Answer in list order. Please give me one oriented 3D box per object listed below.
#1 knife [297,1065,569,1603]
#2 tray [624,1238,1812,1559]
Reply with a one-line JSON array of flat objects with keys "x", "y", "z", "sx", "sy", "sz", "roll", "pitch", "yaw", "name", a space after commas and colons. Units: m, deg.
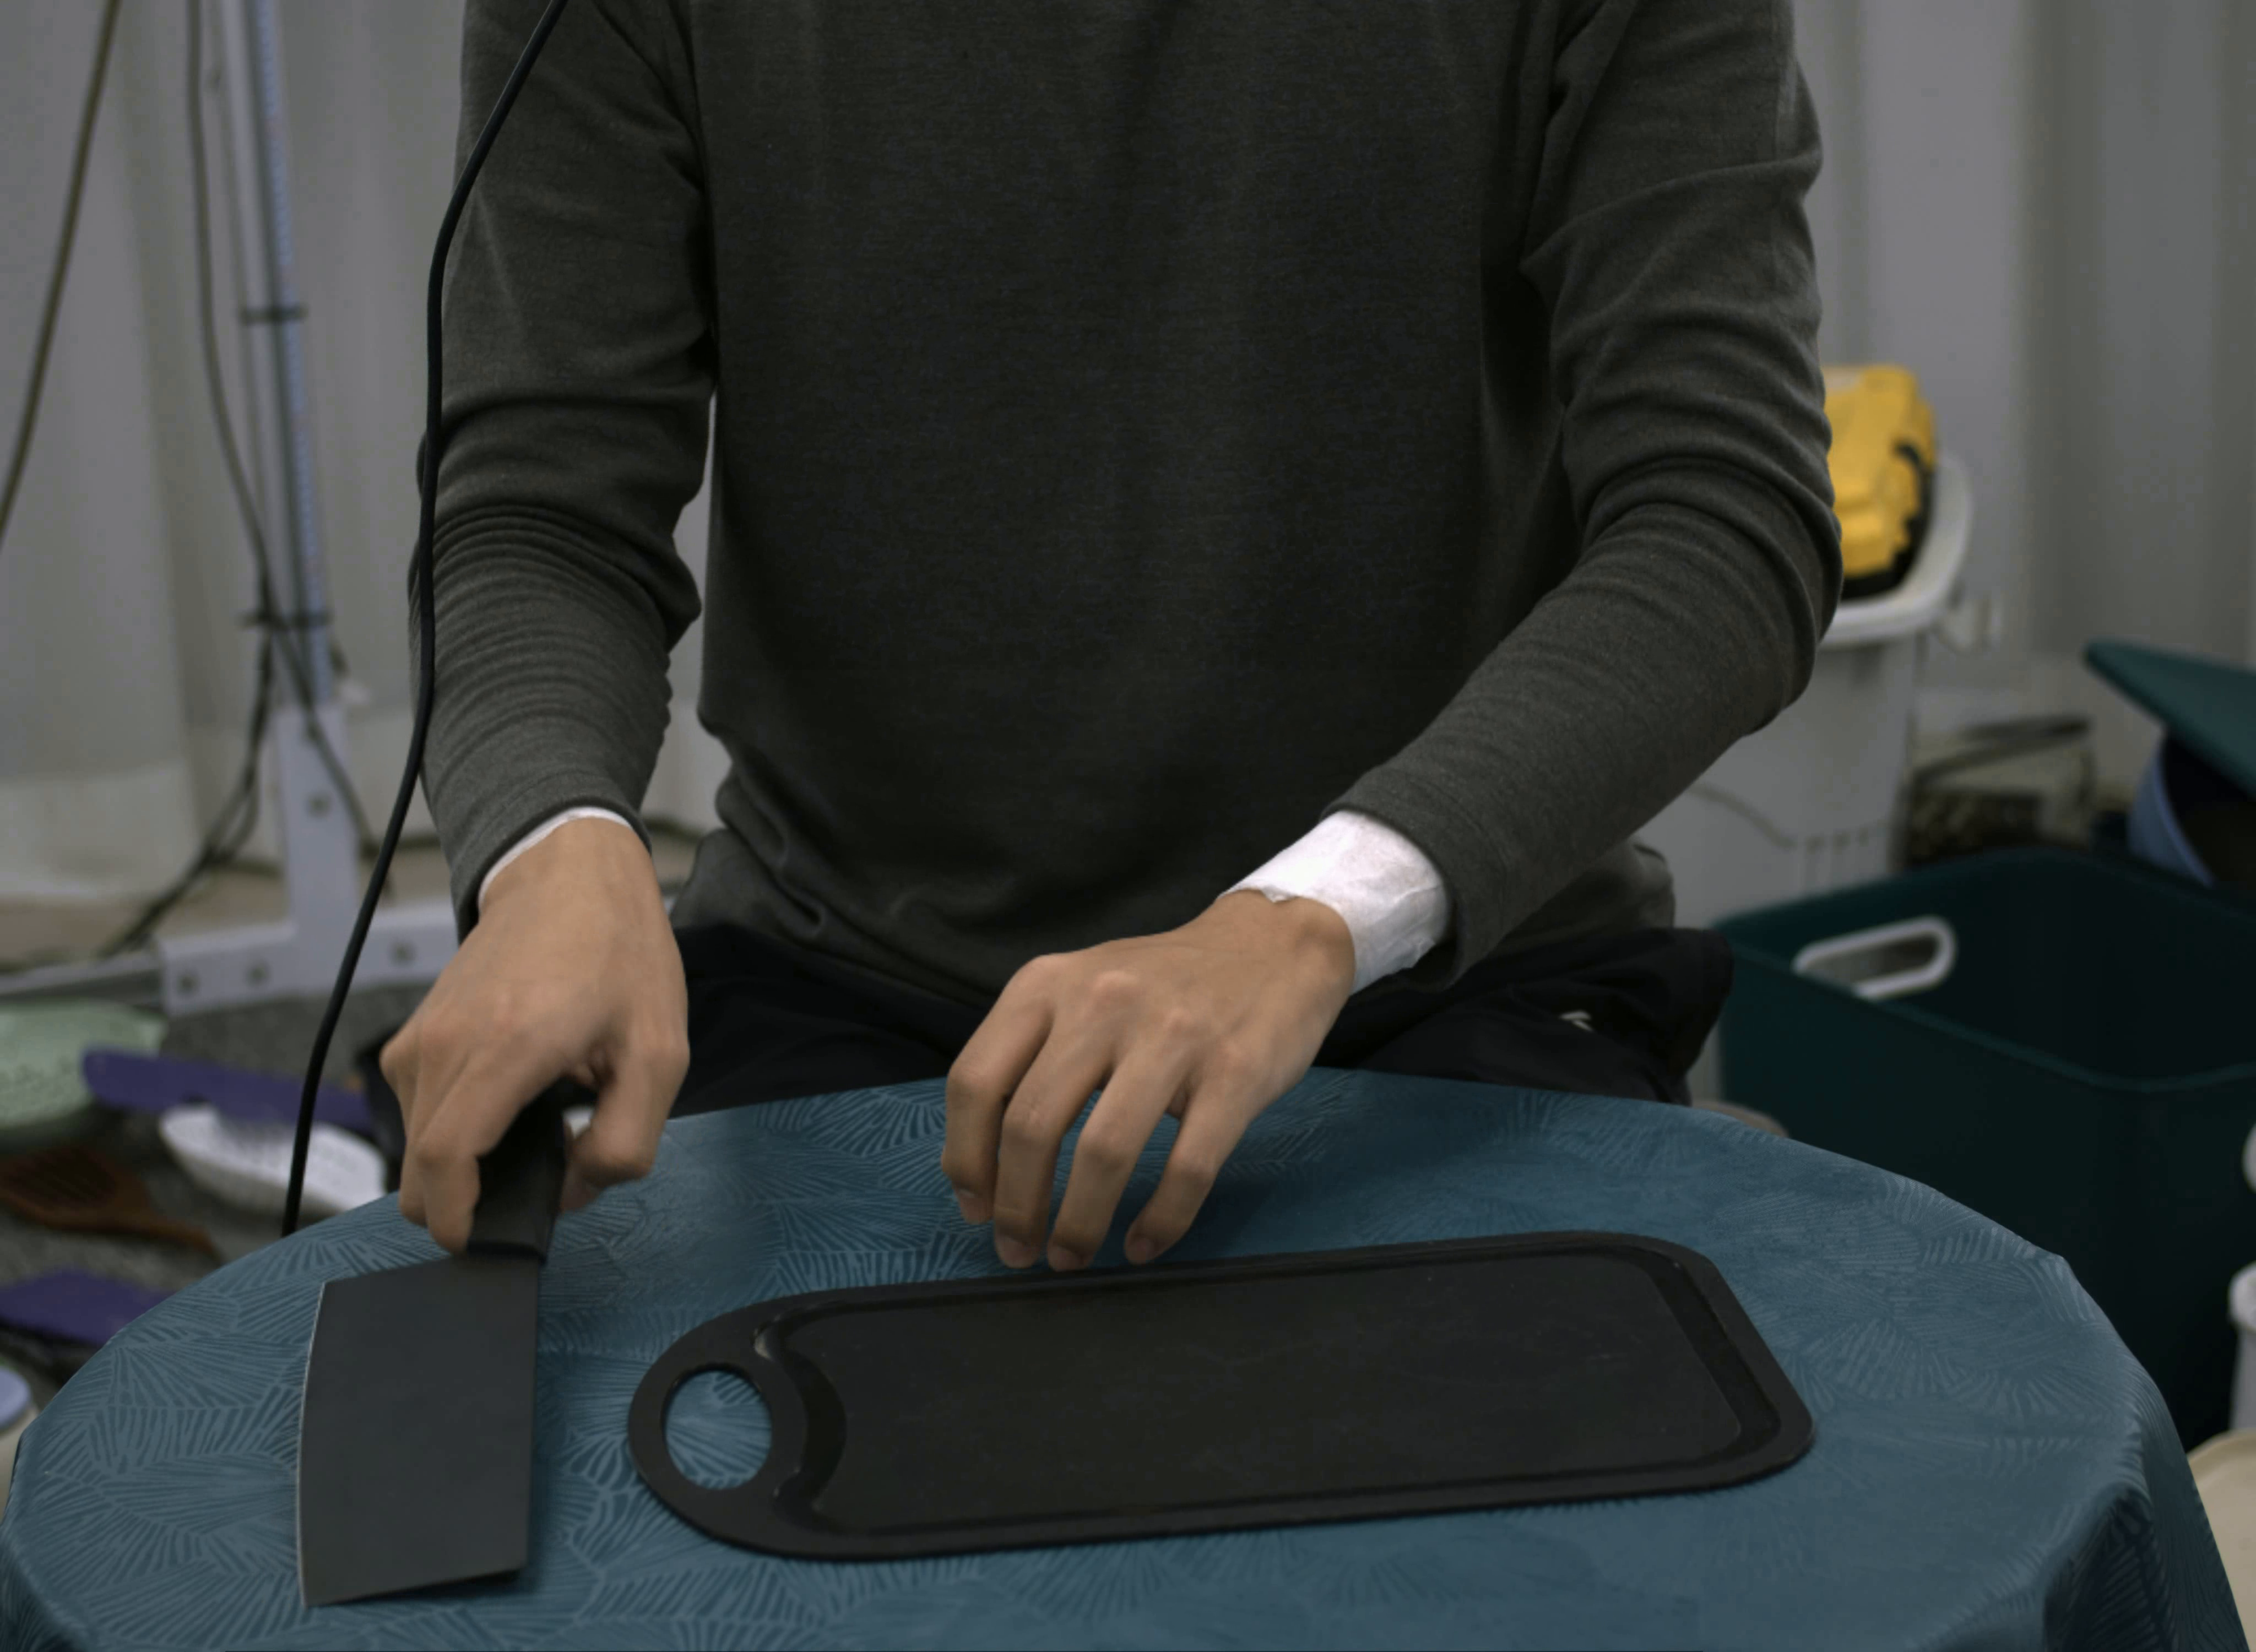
[{"x": -0.195, "y": 0.141, "z": 1.559, "sx": 0.080, "sy": 0.020, "sz": 0.305, "roll": -6, "pitch": 23, "yaw": 3, "name": "knife"}, {"x": 0.020, "y": 0.158, "z": 1.539, "sx": 0.324, "sy": 0.010, "sz": 0.212, "roll": -4, "pitch": 14, "yaw": -4, "name": "tray"}]
